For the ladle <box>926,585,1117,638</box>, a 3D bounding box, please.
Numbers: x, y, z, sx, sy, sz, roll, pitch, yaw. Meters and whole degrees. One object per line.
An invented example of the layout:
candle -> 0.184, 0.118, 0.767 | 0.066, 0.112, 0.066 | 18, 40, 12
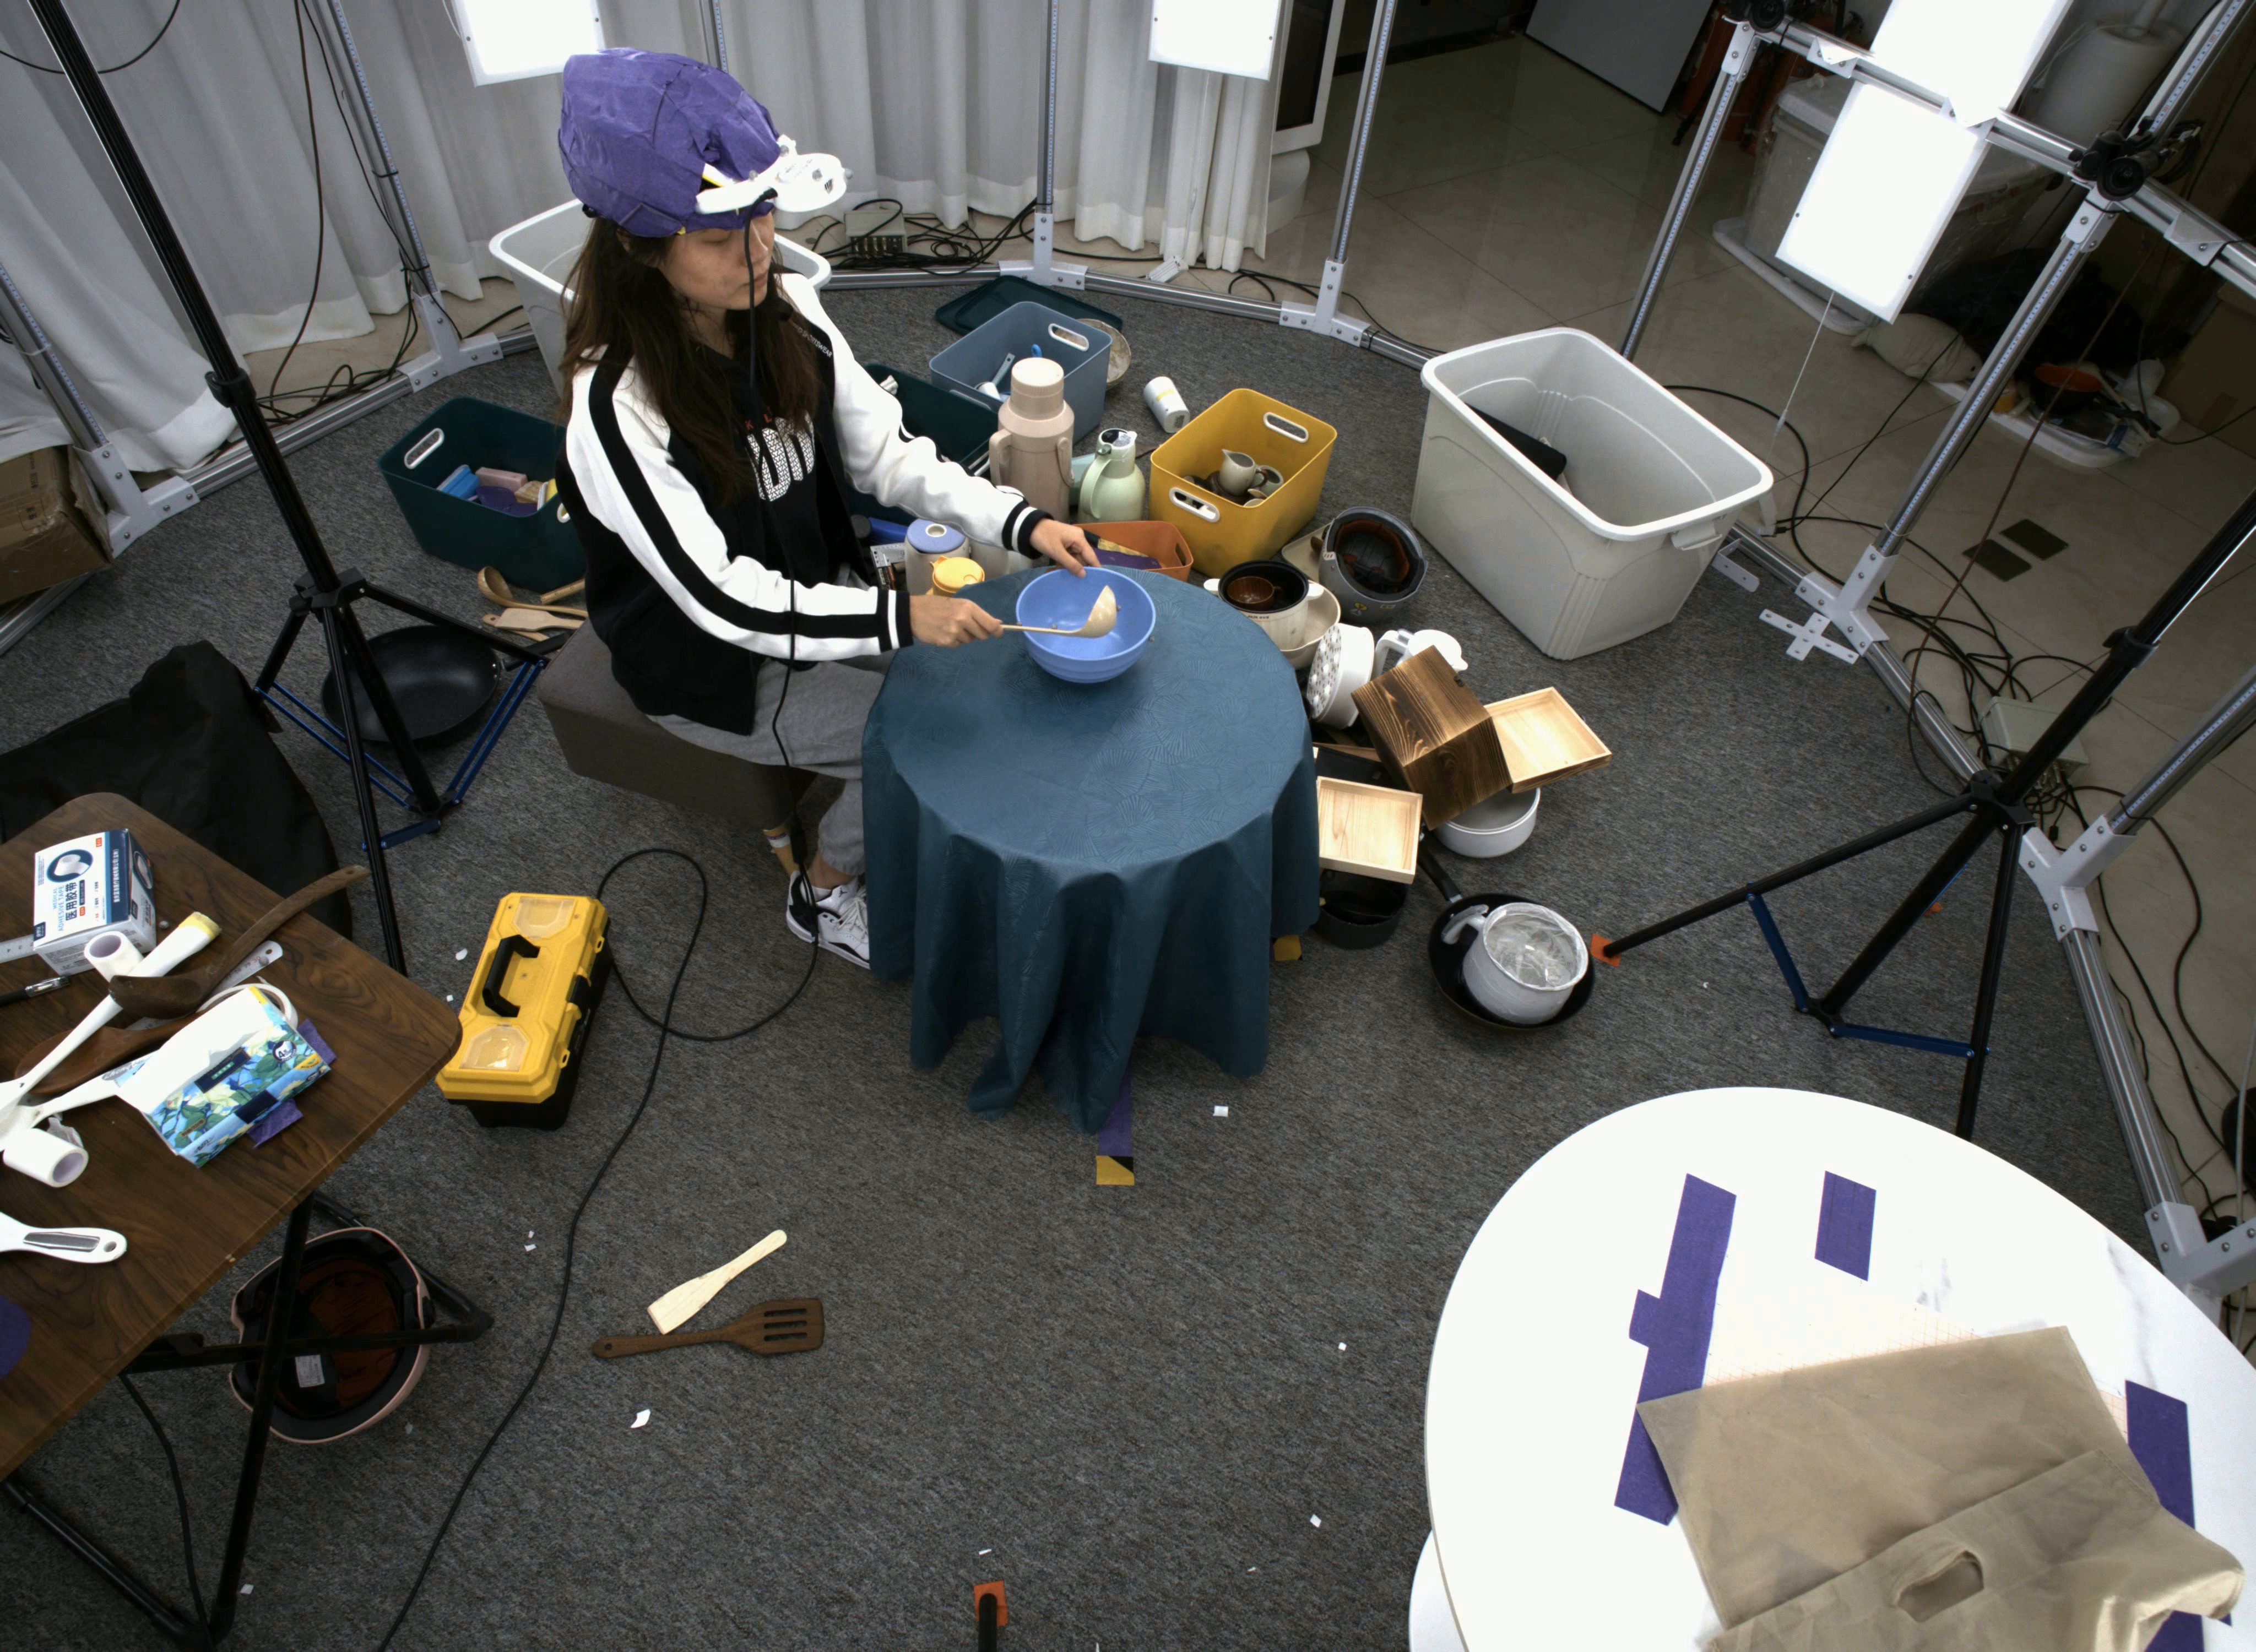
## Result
ladle -> -0.143, -0.292, 1.736 | 0.254, 0.072, 0.073 | 1, 91, -6

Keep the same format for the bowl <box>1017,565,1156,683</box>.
bowl -> -0.062, -0.274, 1.841 | 0.196, 0.093, 0.201 | 3, 49, -4
